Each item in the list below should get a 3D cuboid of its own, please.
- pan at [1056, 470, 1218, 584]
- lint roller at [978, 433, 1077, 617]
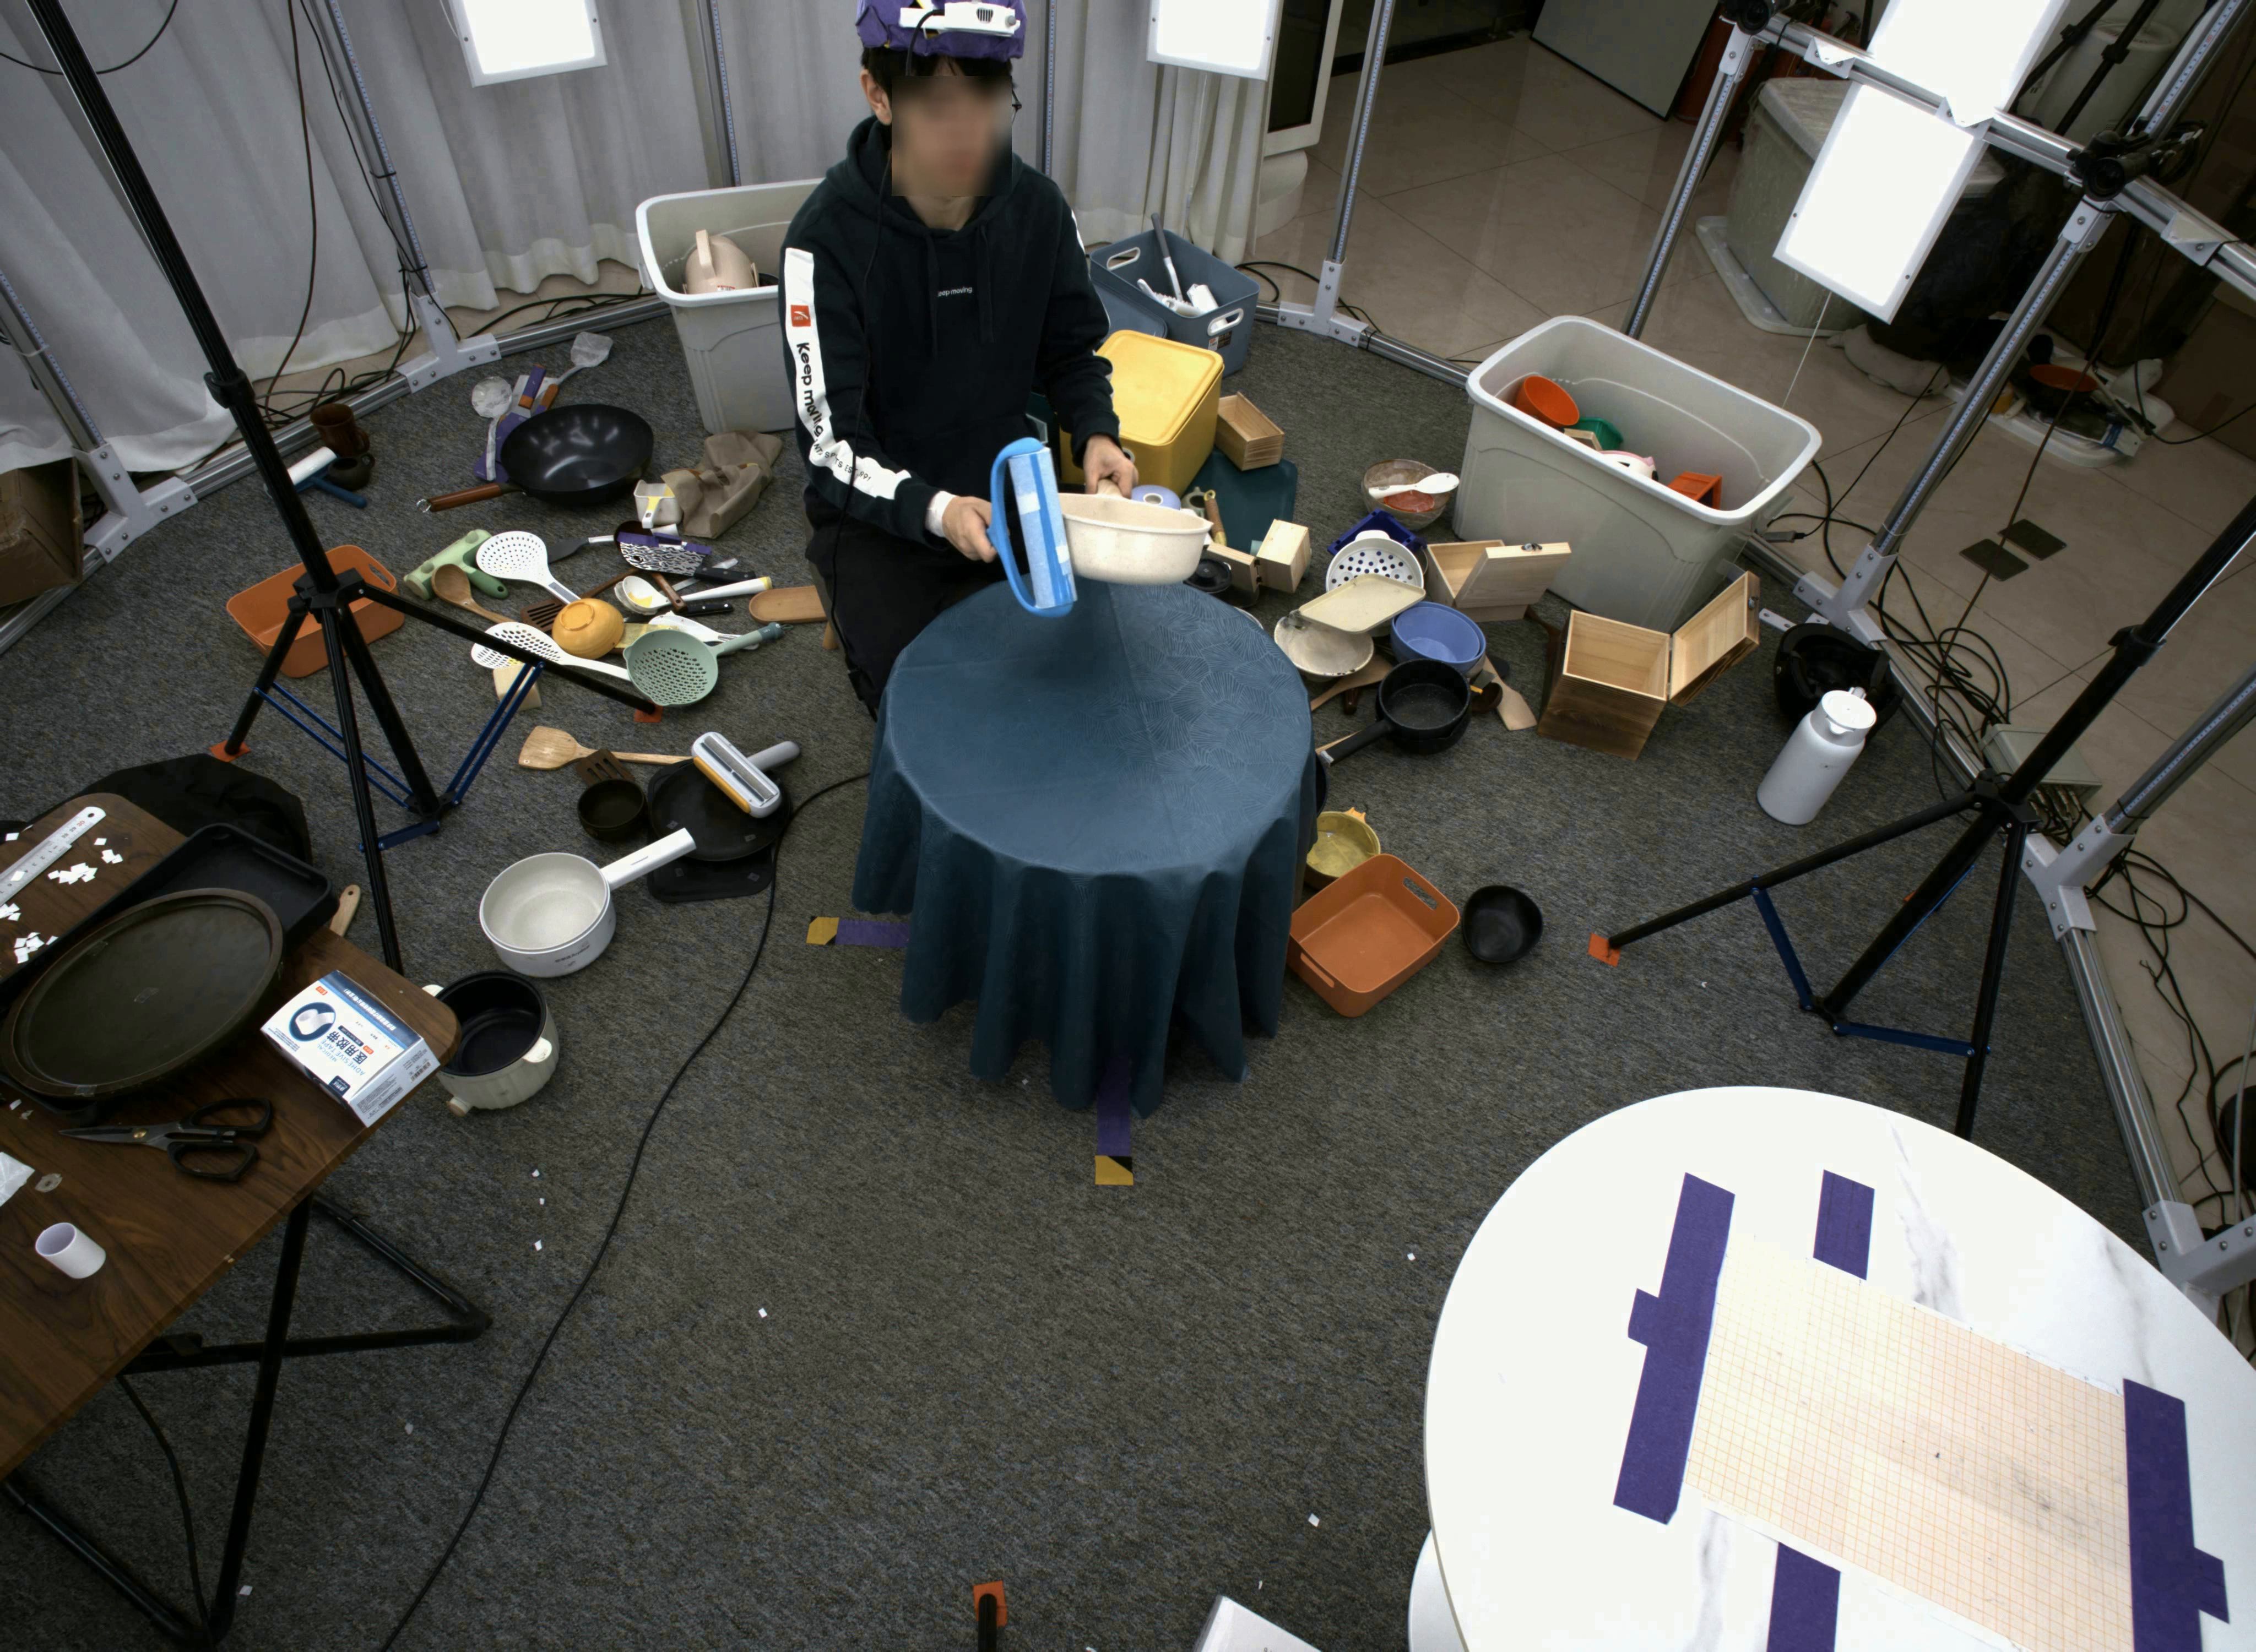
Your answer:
[{"bbox_3d":[-0.020,-0.429,1.834,0.263,0.100,0.442,4,21,-8],"label":"pan"},{"bbox_3d":[-0.151,-0.381,1.671,0.181,0.226,0.068,3,21,46],"label":"lint roller"}]
